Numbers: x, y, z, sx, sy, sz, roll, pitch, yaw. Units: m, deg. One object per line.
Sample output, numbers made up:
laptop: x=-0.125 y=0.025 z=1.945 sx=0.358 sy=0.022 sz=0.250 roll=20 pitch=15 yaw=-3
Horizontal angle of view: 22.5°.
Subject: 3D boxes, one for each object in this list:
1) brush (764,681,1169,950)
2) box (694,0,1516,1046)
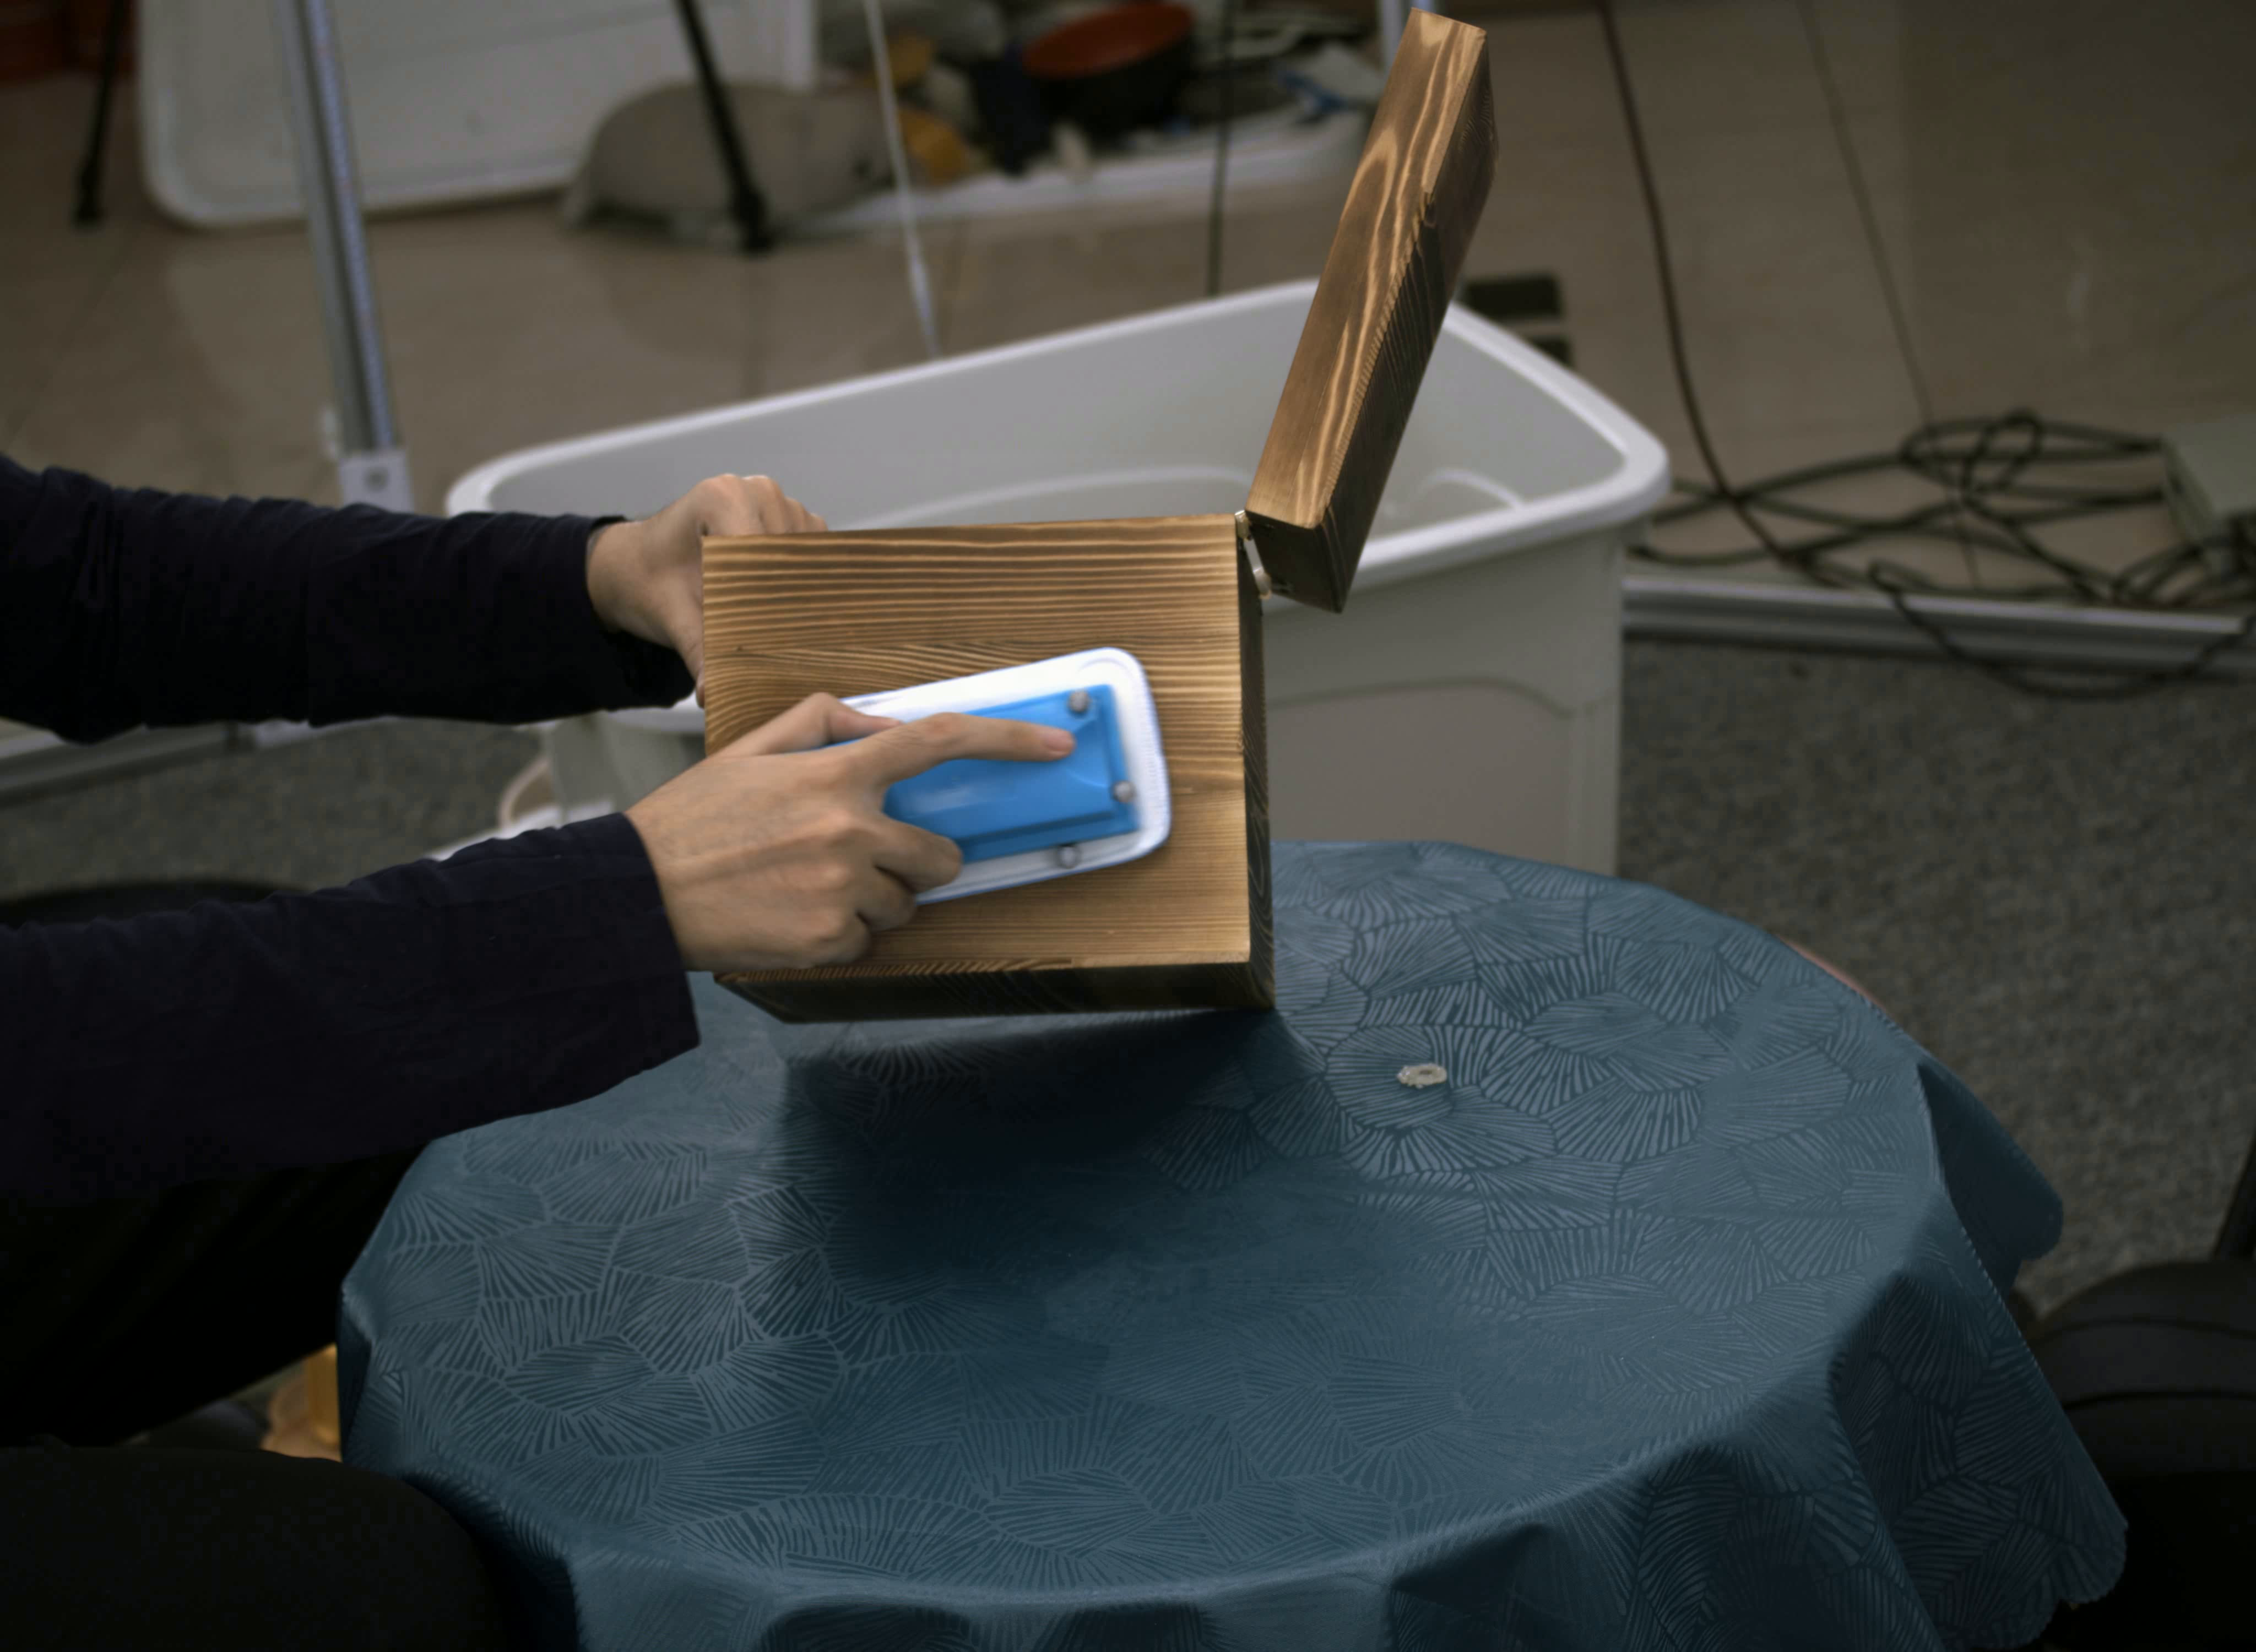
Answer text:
brush: x=-0.060 y=-0.009 z=2.052 sx=0.144 sy=0.083 sz=0.056 roll=-12 pitch=-10 yaw=-2
box: x=-0.003 y=-0.115 z=2.197 sx=0.321 sy=0.375 sz=0.209 roll=-2 pitch=-5 yaw=4
